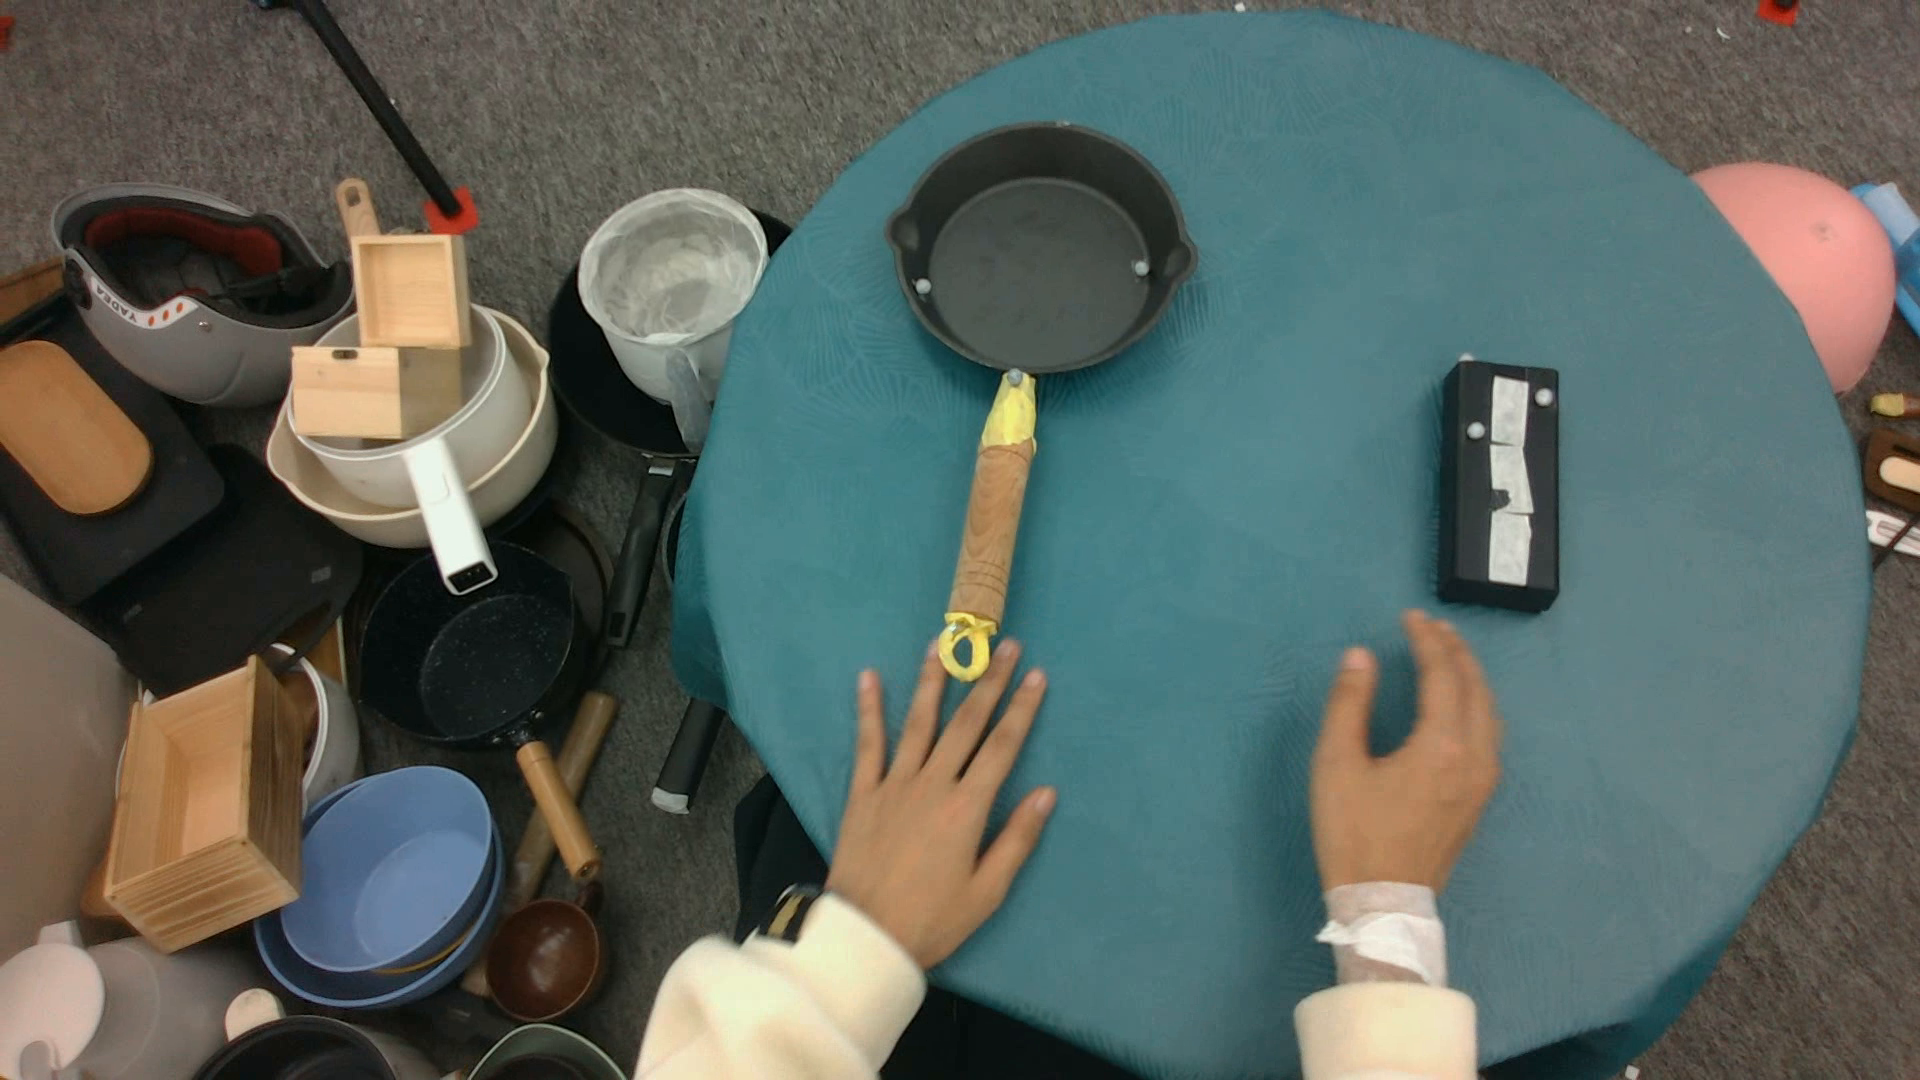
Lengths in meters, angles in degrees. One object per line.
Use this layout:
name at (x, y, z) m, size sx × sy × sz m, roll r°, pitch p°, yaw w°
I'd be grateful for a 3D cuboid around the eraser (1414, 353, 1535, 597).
eraser at (0.262, -0.035, 0.701) m, size 0.053 × 0.030 × 0.126 m, roll 8°, pitch 70°, yaw 6°

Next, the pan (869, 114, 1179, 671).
pan at (0.019, -0.084, 0.716) m, size 0.169 × 0.049 × 0.325 m, roll 10°, pitch 68°, yaw 5°
